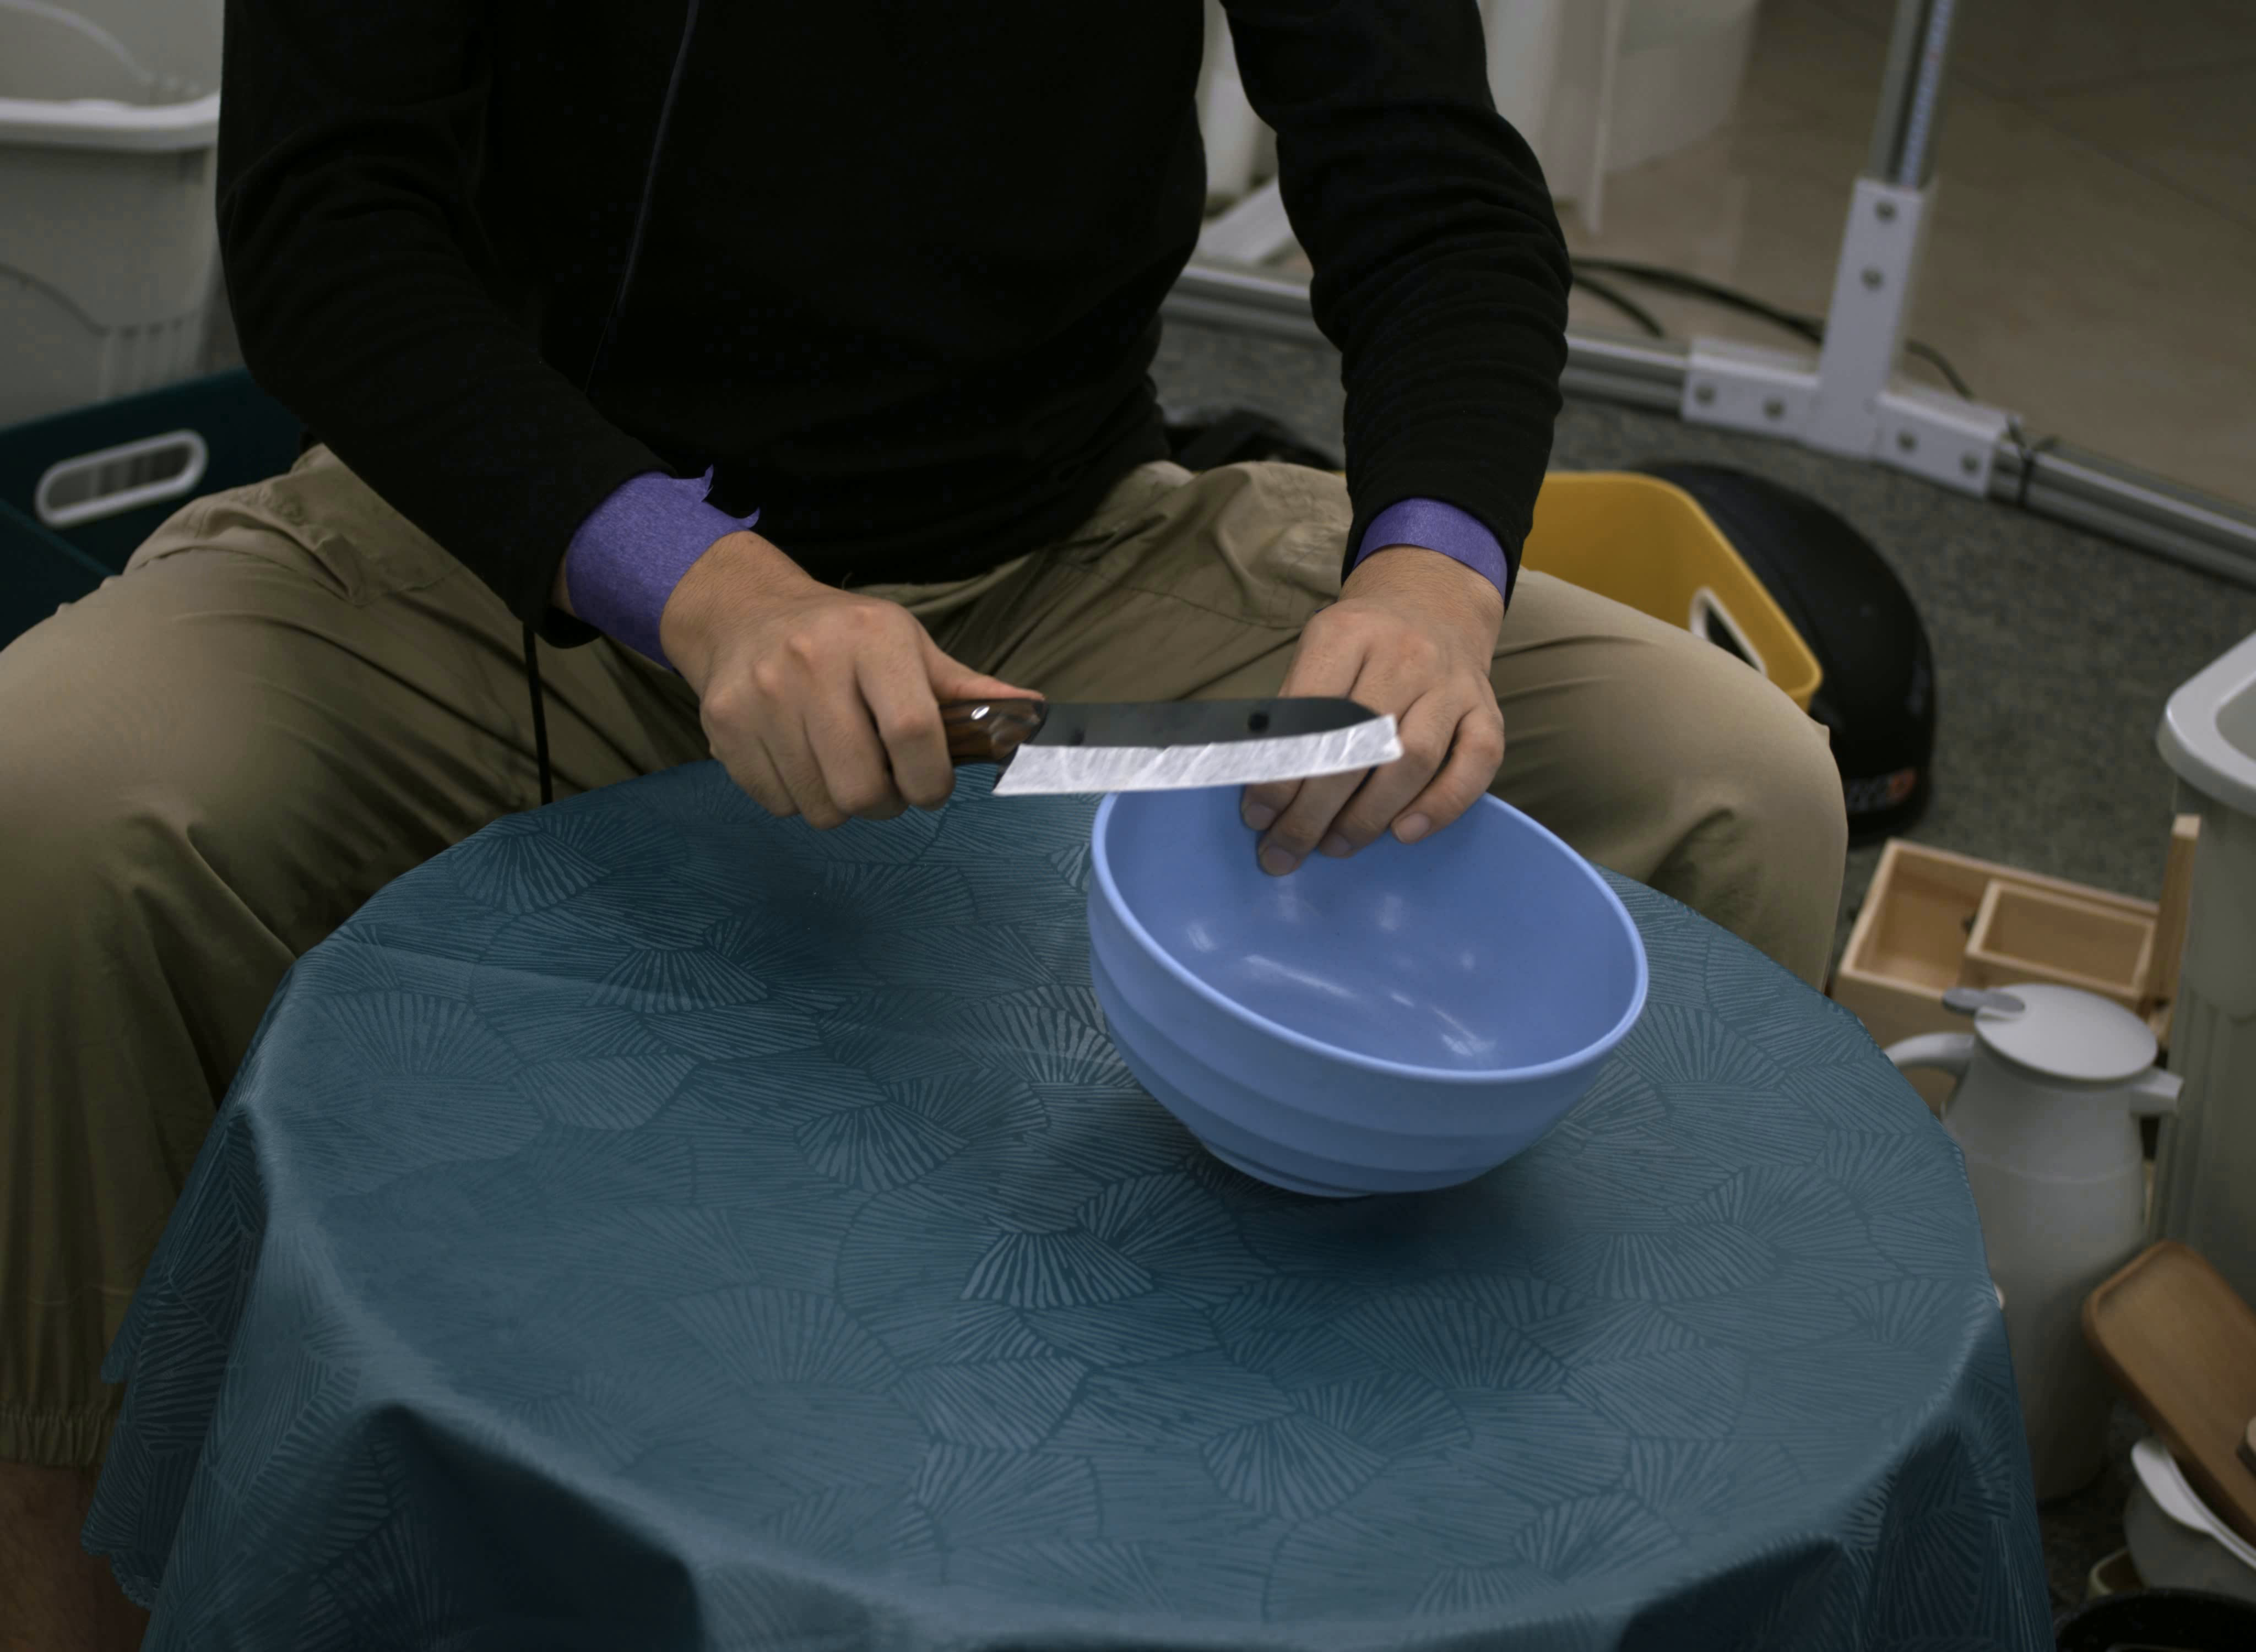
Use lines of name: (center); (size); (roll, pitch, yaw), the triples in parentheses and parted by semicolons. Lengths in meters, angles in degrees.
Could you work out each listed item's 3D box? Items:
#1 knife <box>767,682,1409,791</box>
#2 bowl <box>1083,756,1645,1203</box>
knife: (-0.018, -0.030, 1.846); (0.290, 0.020, 0.050); (0, 47, 40)
bowl: (0.070, 0.064, 1.823); (0.195, 0.095, 0.198); (12, 30, -7)
